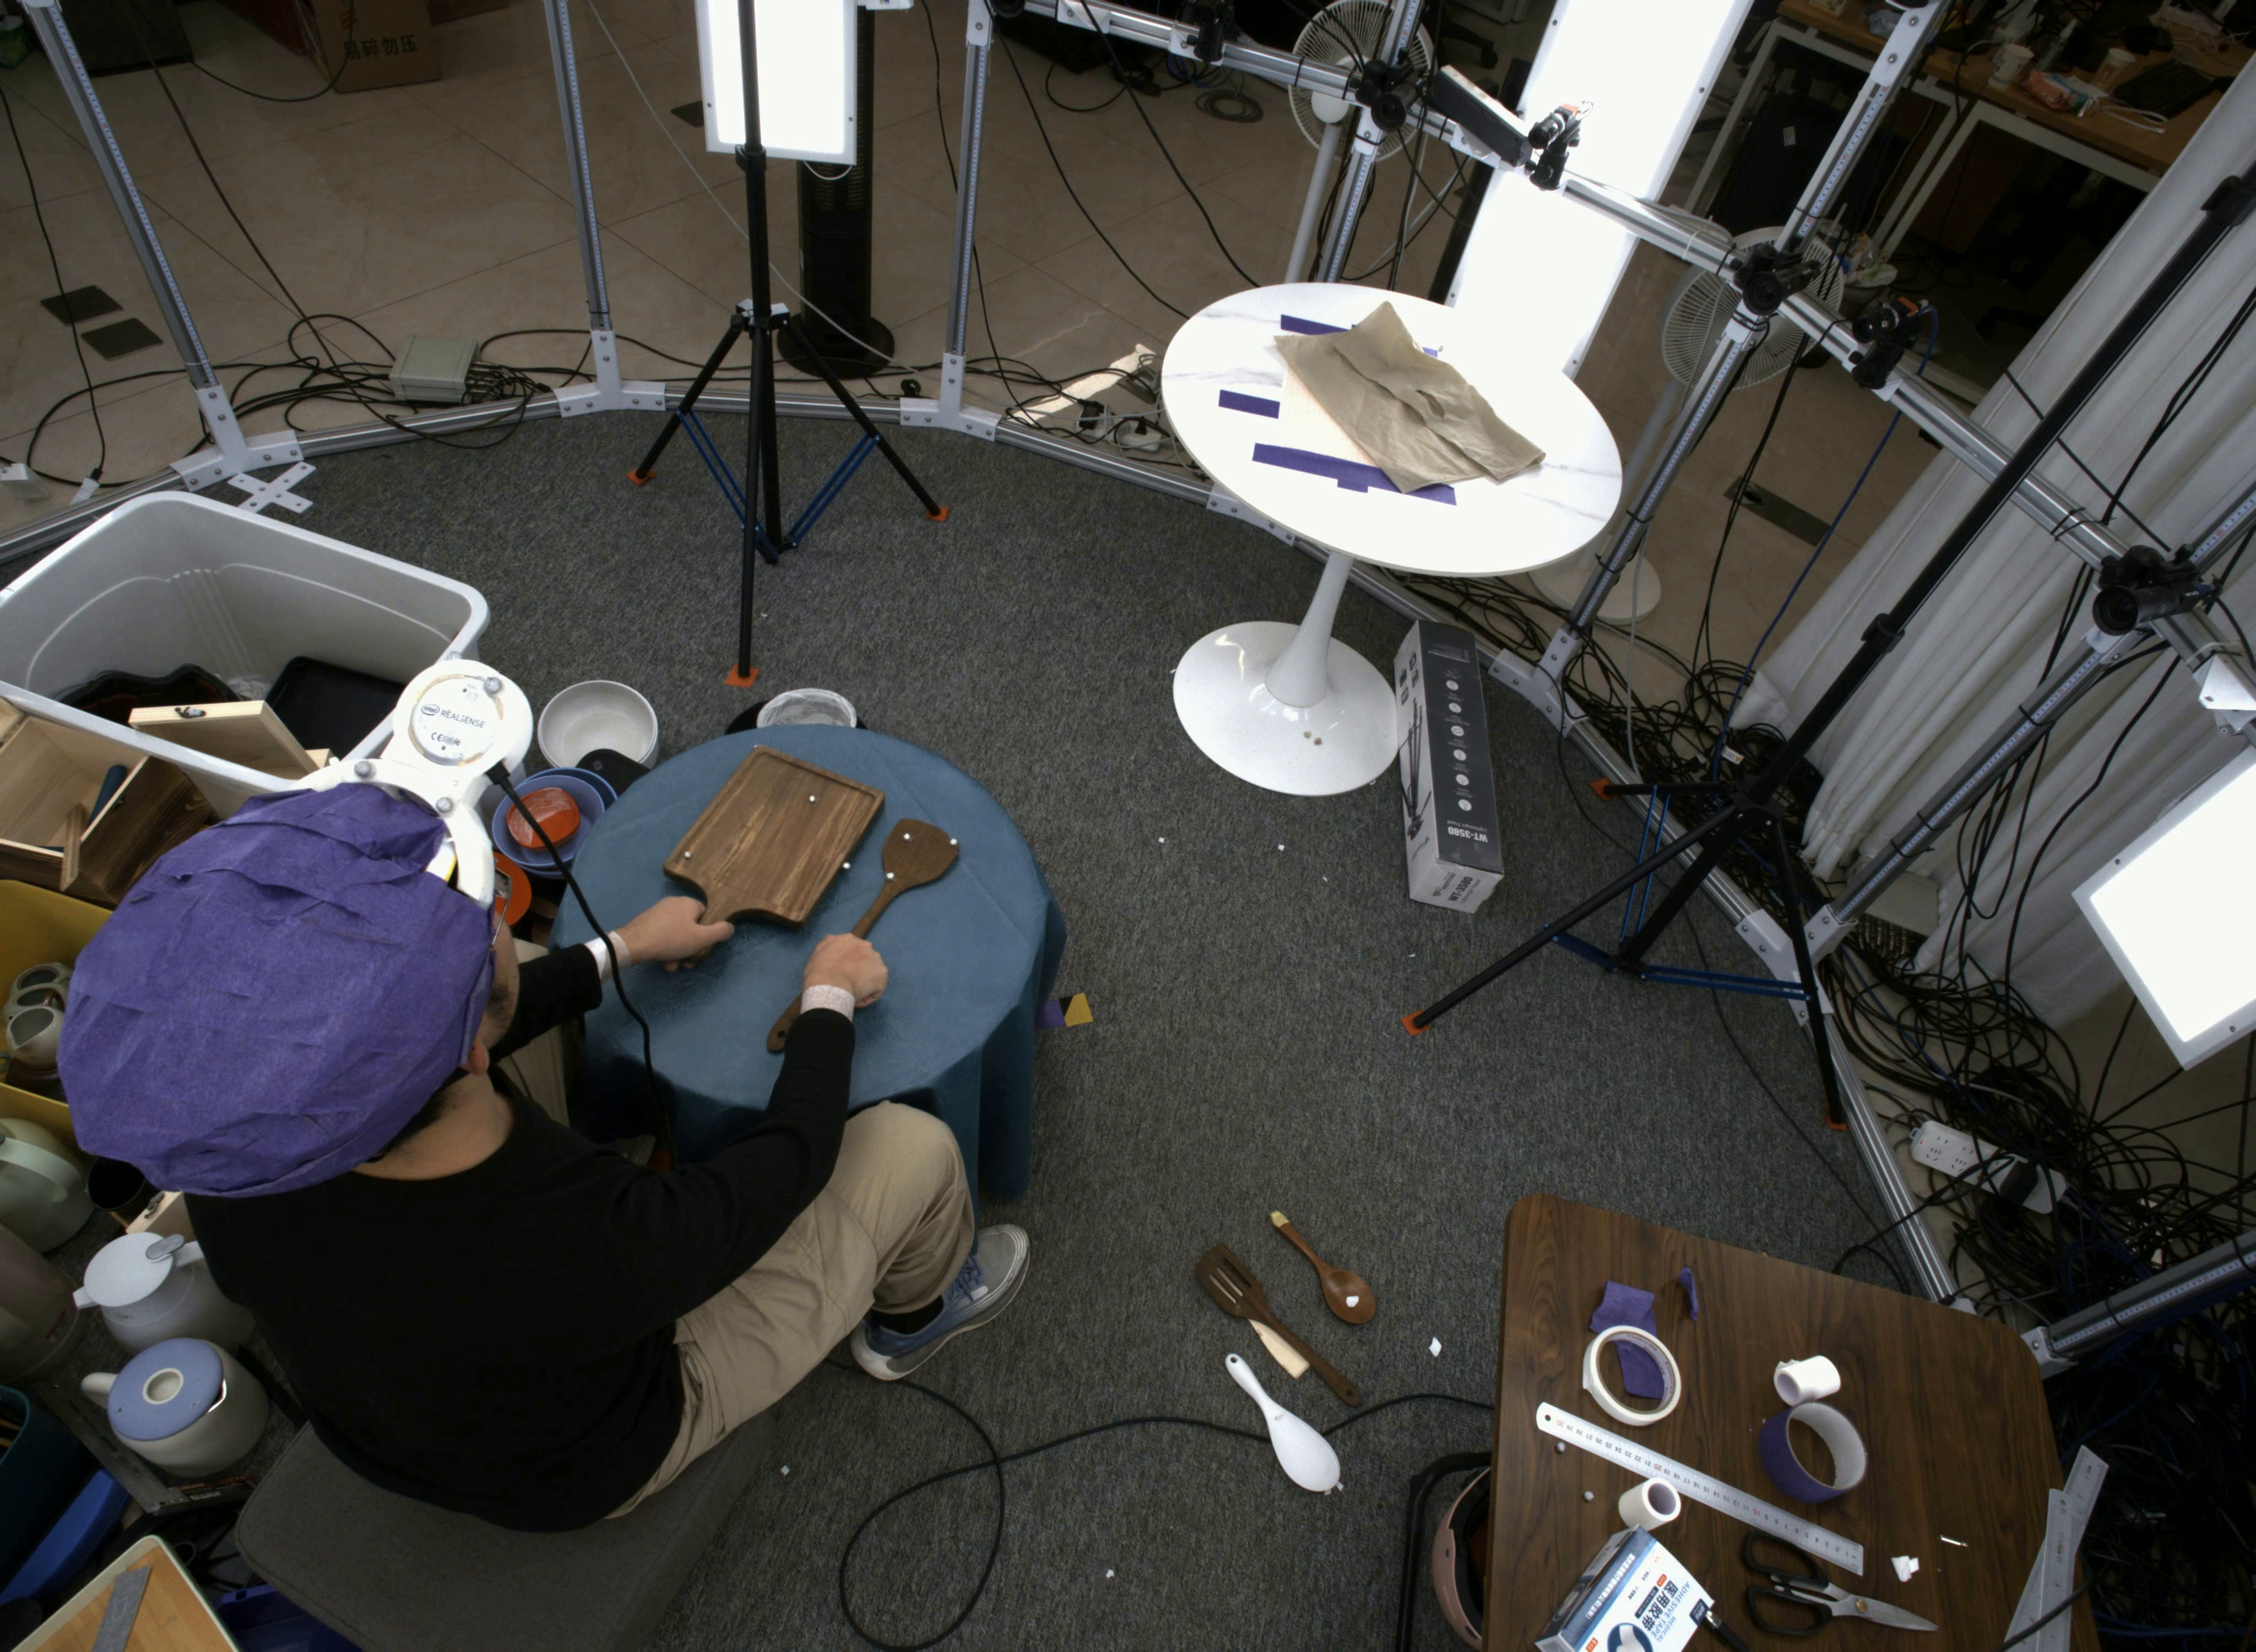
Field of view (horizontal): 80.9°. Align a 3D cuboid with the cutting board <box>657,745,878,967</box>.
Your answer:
[{"bbox_3d":[-0.476,0.040,1.644,0.199,0.023,0.348,21,47,1],"label":"cutting board"}]

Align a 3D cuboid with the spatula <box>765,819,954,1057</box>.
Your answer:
[{"bbox_3d":[-0.343,0.133,1.631,0.095,0.016,0.383,26,52,6],"label":"spatula"}]
